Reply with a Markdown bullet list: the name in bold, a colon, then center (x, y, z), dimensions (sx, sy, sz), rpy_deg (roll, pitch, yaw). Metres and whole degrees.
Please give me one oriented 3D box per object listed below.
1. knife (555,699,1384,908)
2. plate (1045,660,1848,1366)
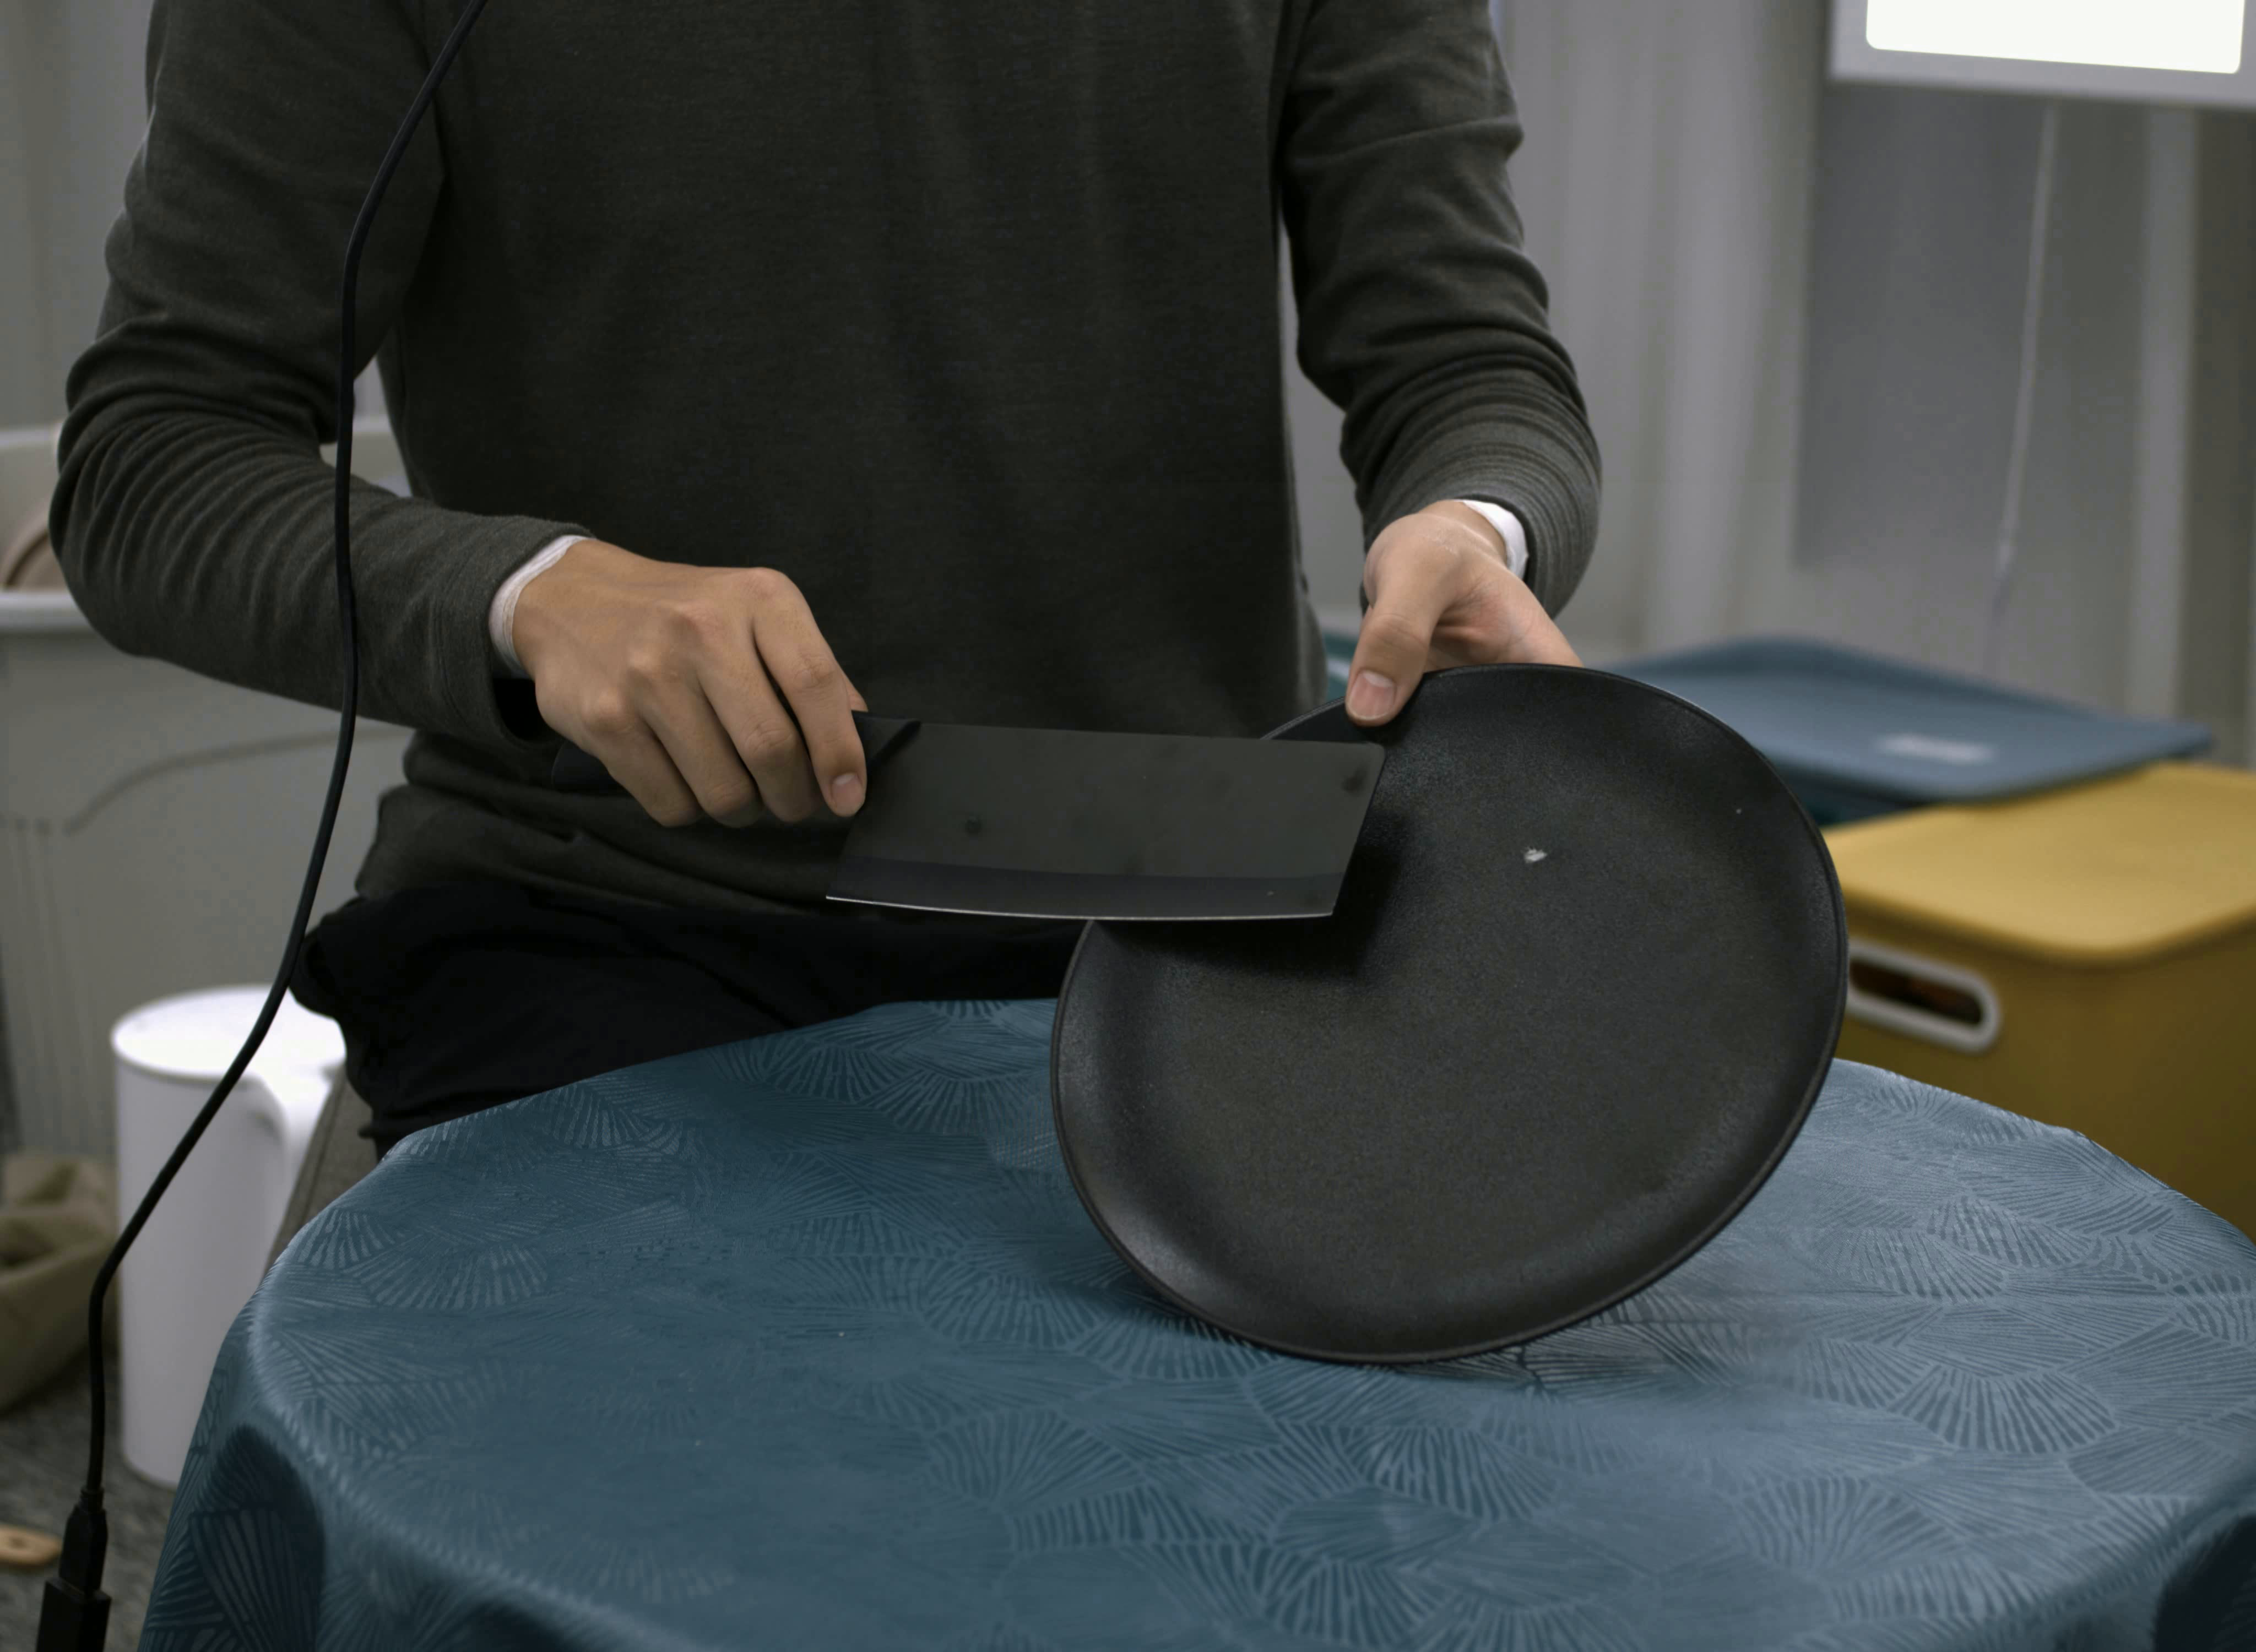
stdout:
- **knife**: center (-0.057, -0.008, 1.646), dimensions (0.298, 0.021, 0.081), rpy_deg (7, 62, 33)
- **plate**: center (0.094, 0.056, 1.549), dimensions (0.243, 0.024, 0.242), rpy_deg (-10, 54, 14)
